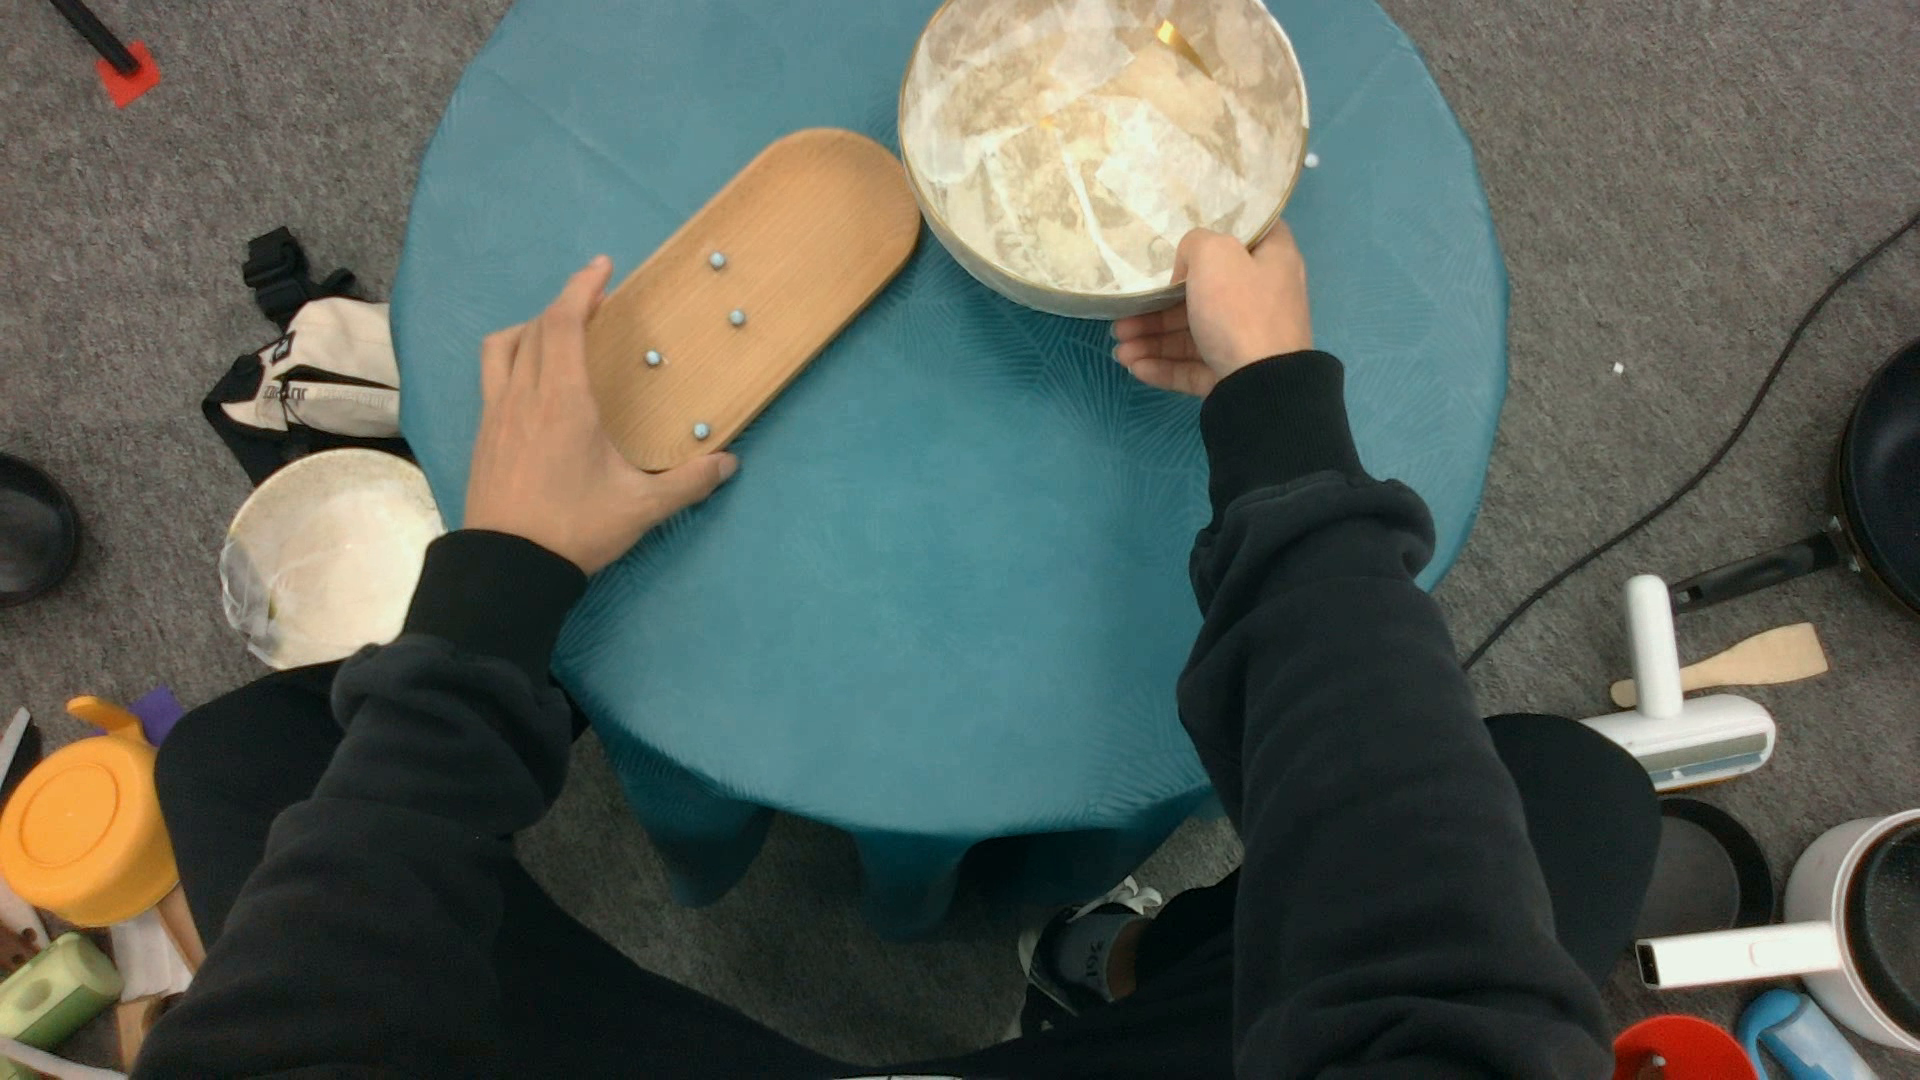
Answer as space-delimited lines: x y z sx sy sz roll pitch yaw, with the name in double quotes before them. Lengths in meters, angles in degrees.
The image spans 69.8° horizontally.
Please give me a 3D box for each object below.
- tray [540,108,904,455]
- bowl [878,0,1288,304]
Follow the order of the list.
"tray" -0.122 -0.138 0.726 0.102 0.020 0.232 39 73 7
"bowl" 0.057 -0.205 0.717 0.215 0.094 0.215 0 75 -1
